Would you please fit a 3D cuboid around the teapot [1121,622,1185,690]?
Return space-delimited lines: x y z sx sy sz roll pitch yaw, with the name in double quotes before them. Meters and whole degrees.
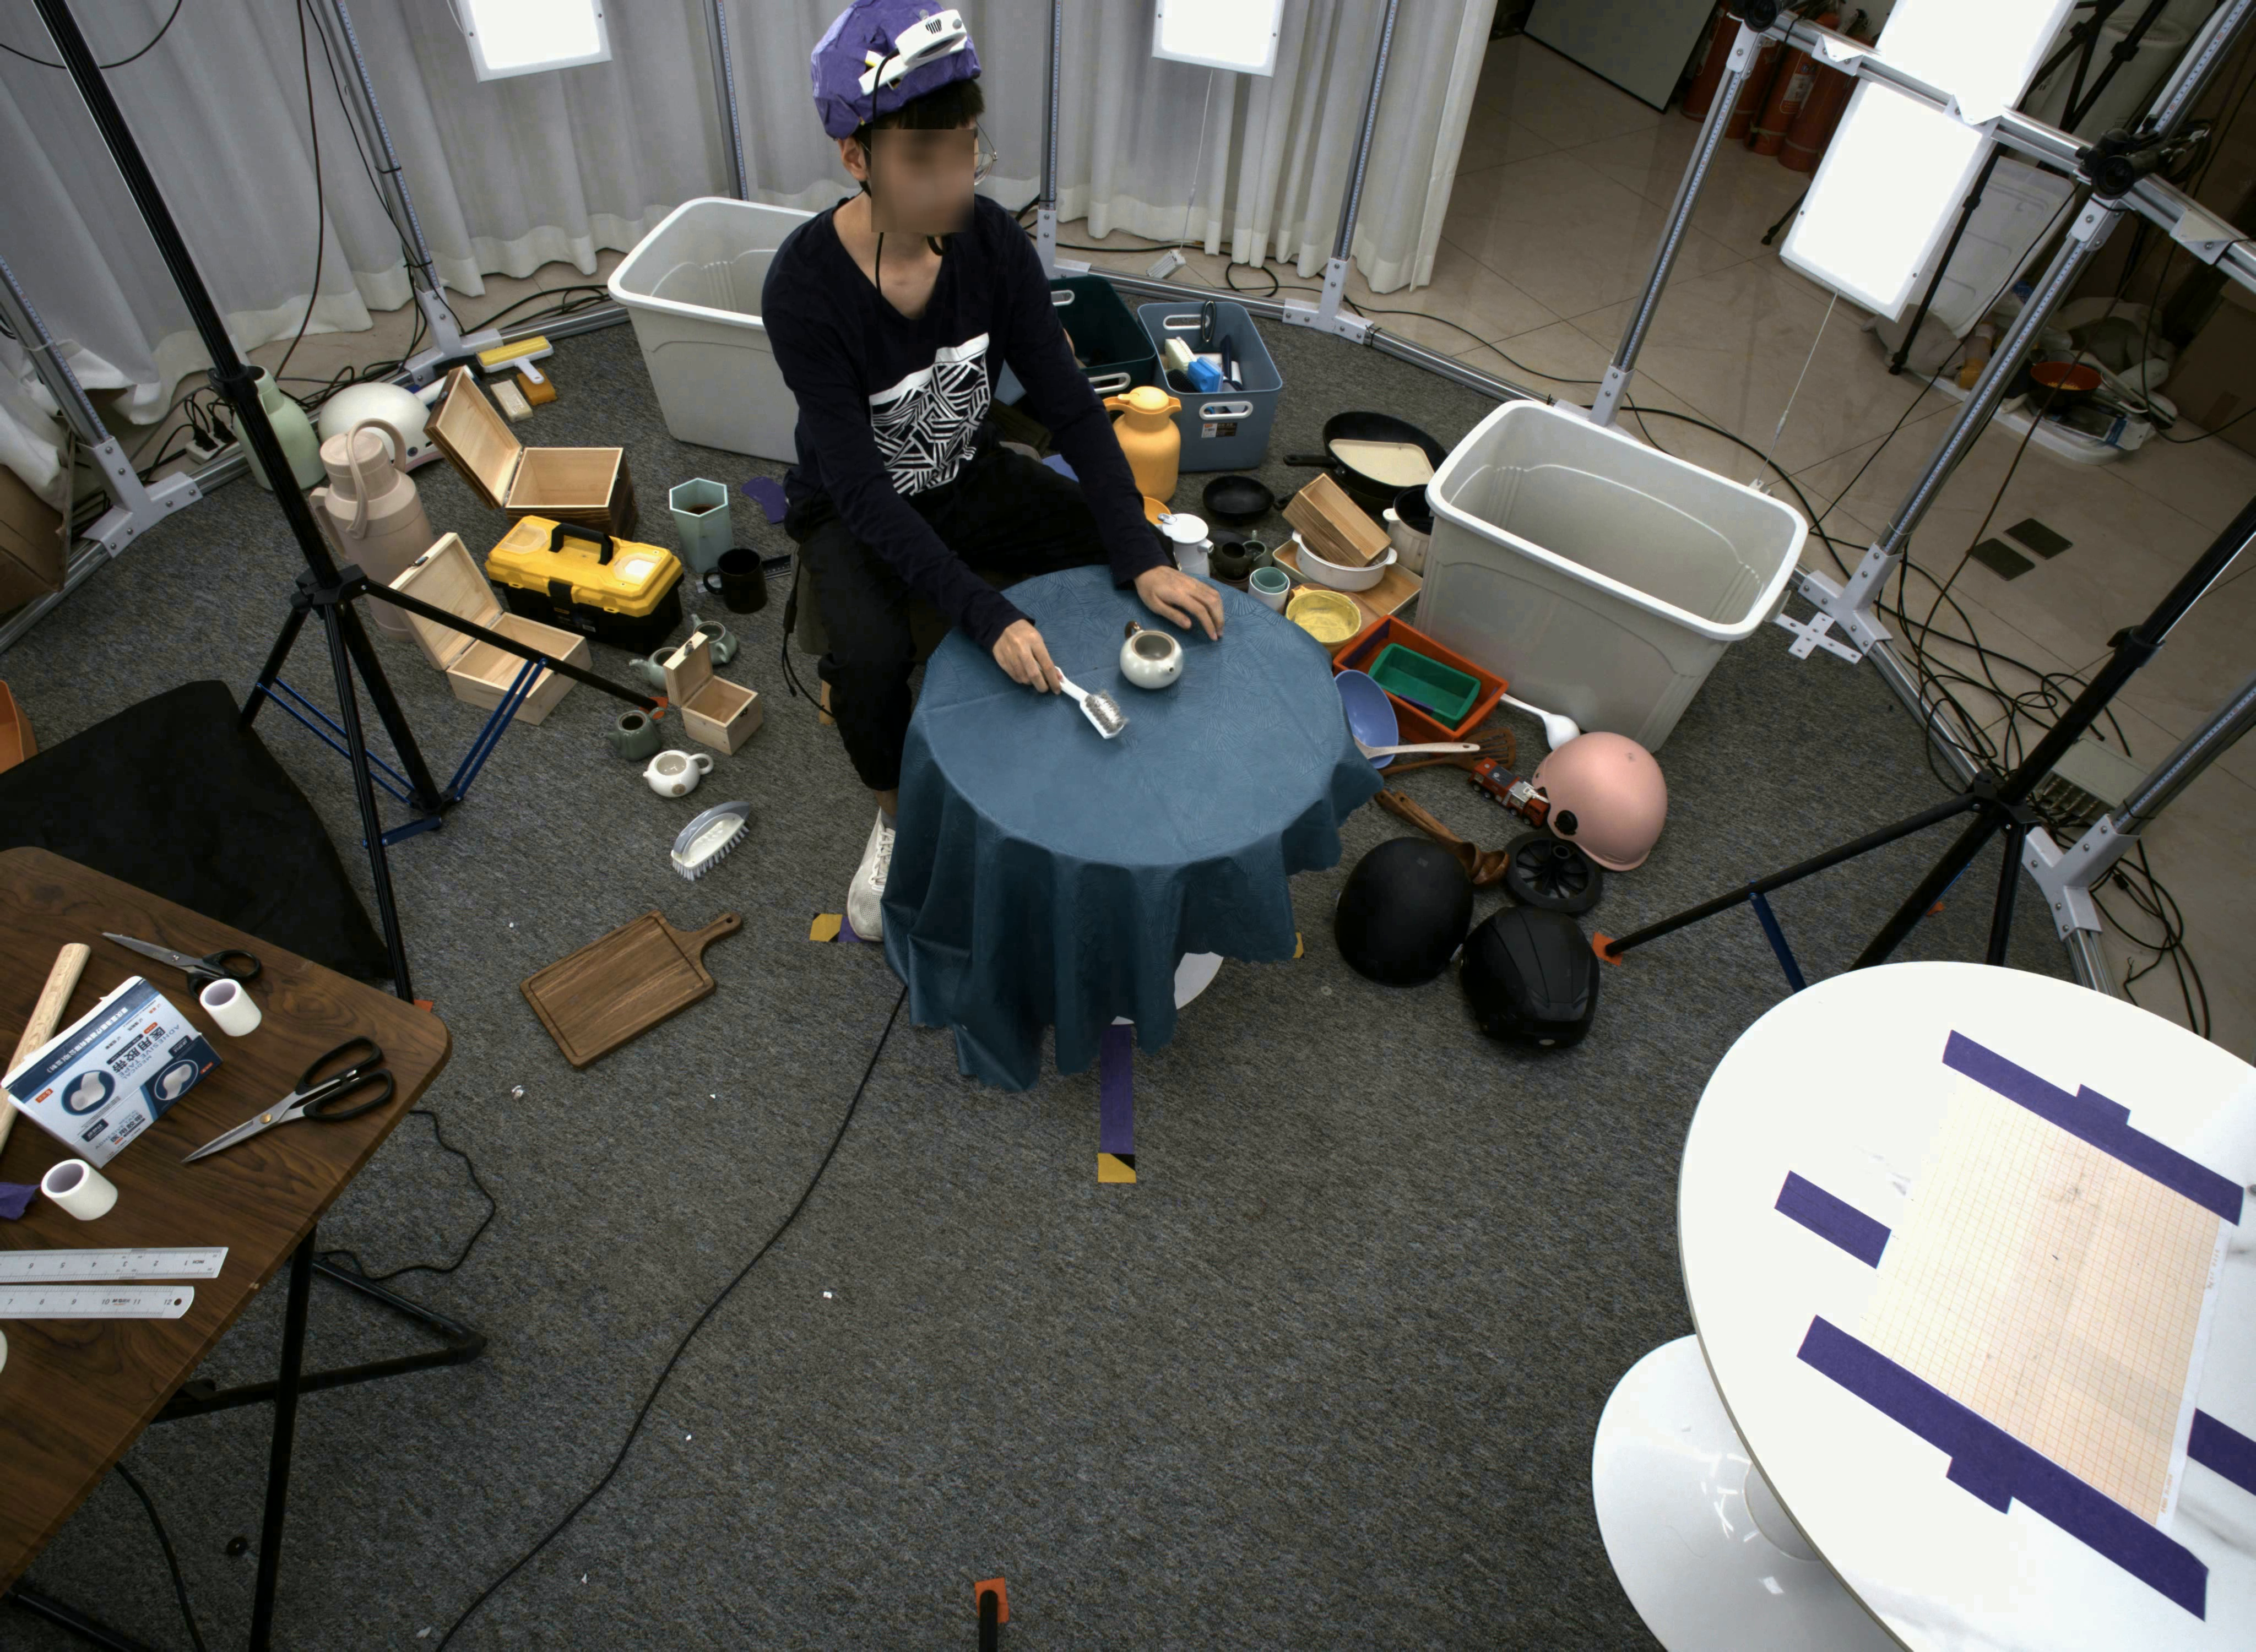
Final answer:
"teapot" 0.031 -0.244 1.845 0.092 0.058 0.131 -25 56 -19

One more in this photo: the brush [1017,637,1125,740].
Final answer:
"brush" -0.085 -0.208 1.812 0.034 0.049 0.248 -31 57 -18
